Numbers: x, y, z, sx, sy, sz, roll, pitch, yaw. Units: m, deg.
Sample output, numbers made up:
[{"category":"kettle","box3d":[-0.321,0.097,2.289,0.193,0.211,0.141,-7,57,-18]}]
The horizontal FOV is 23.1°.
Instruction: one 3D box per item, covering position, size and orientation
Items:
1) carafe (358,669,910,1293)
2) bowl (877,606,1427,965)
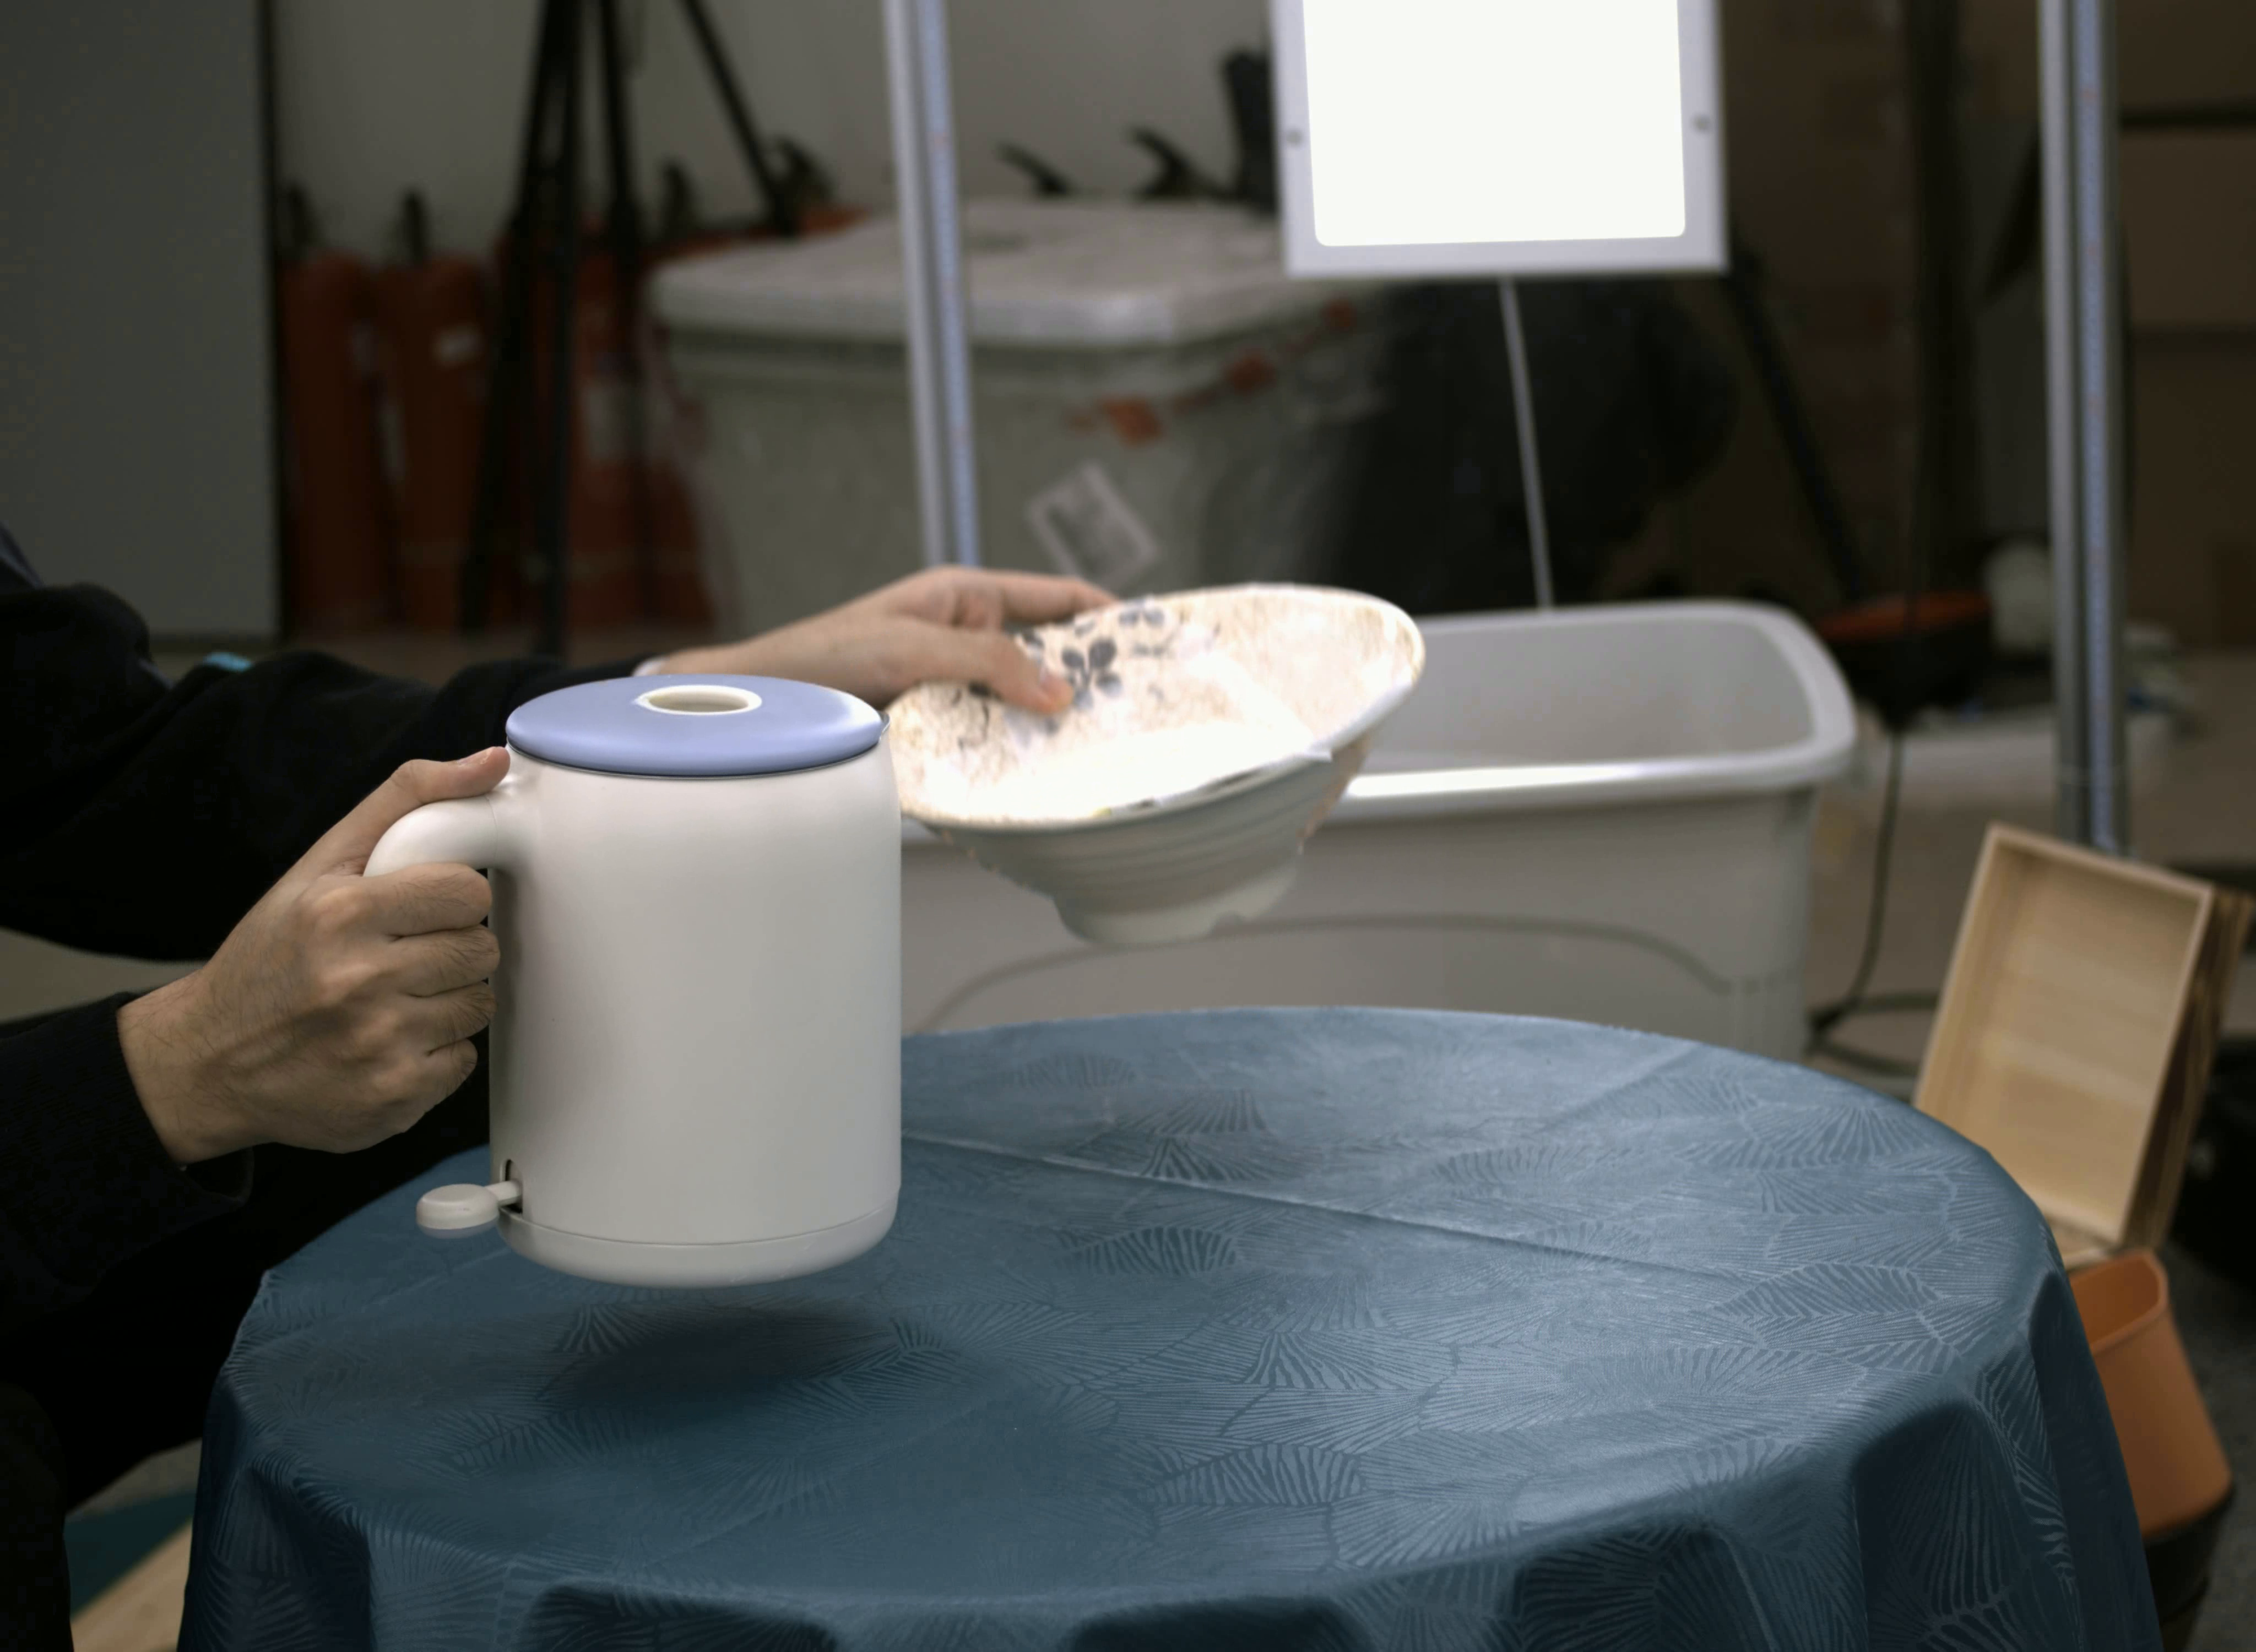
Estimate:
[{"category":"carafe","box3d":[-0.156,0.052,1.733,0.187,0.183,0.135,-11,16,-30]},{"category":"bowl","box3d":[0.015,-0.005,1.921,0.204,0.078,0.203,-15,18,4]}]
